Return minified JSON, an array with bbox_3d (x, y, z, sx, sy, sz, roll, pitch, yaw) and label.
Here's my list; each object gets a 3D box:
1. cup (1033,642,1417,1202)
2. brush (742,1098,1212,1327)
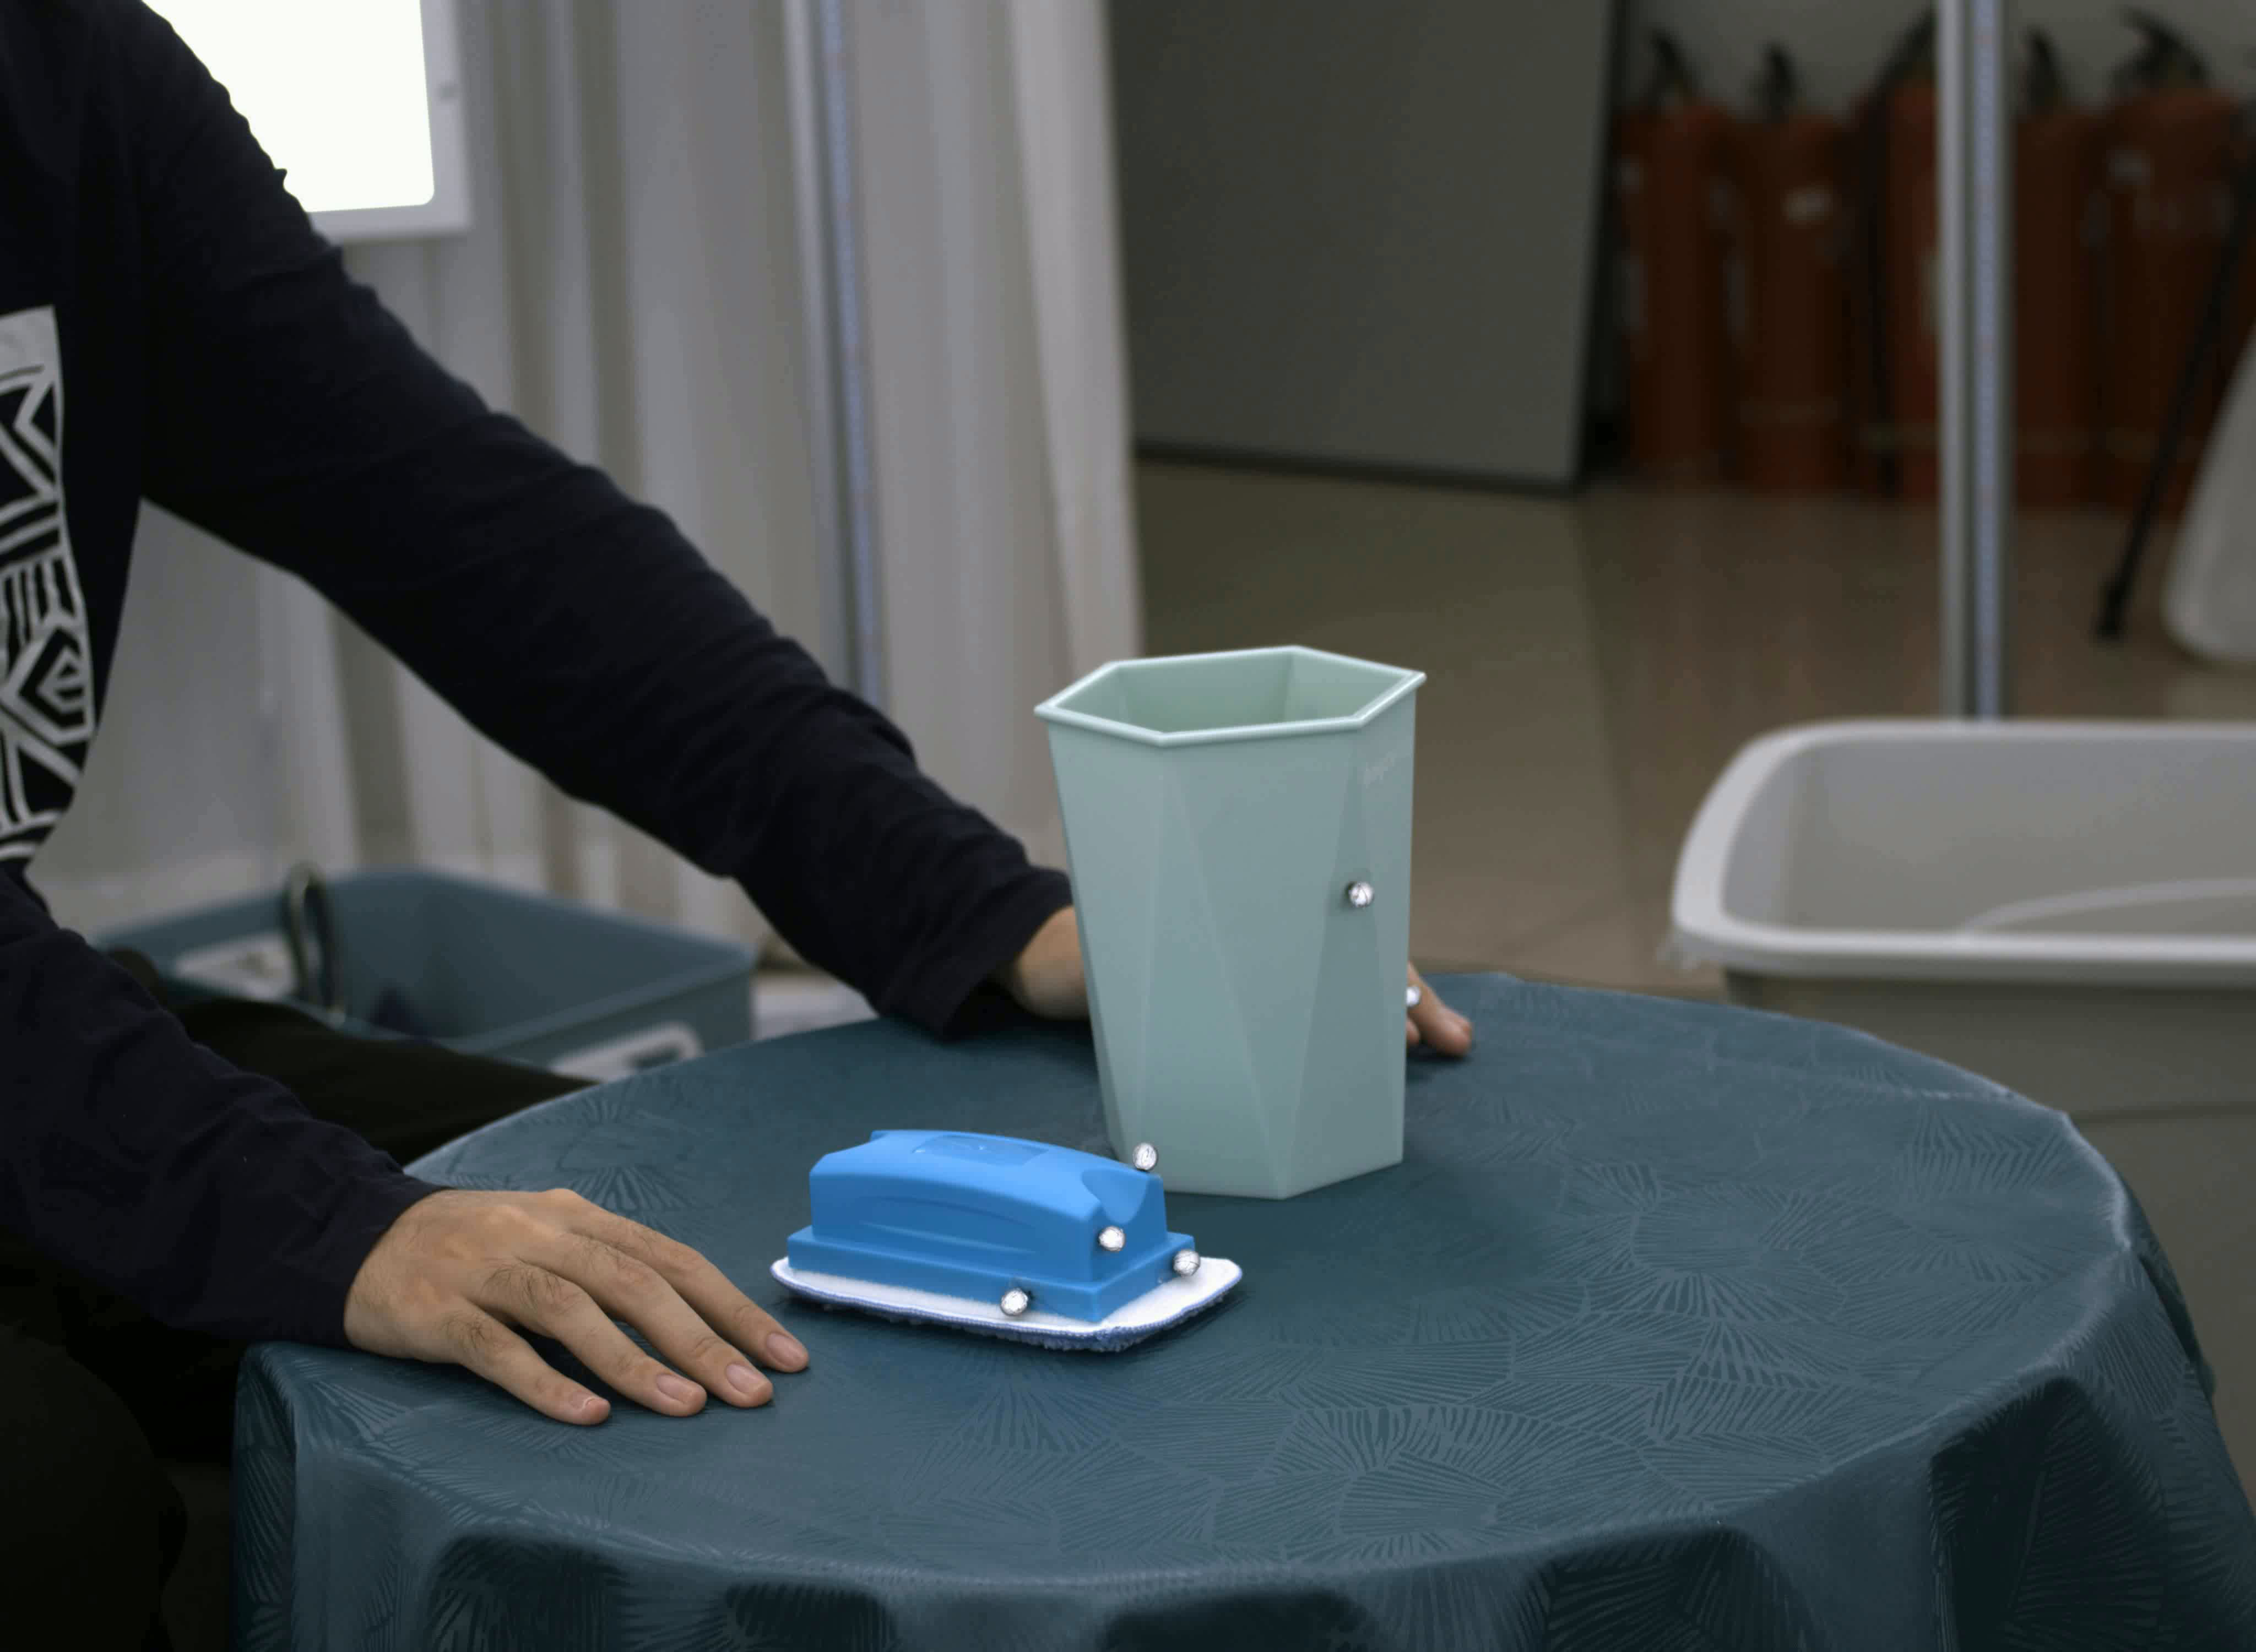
[{"bbox_3d":[0.039,0.032,1.786,0.115,0.165,0.129,0,14,21],"label":"cup"},{"bbox_3d":[-0.047,0.118,1.673,0.145,0.056,0.082,10,16,37],"label":"brush"}]
